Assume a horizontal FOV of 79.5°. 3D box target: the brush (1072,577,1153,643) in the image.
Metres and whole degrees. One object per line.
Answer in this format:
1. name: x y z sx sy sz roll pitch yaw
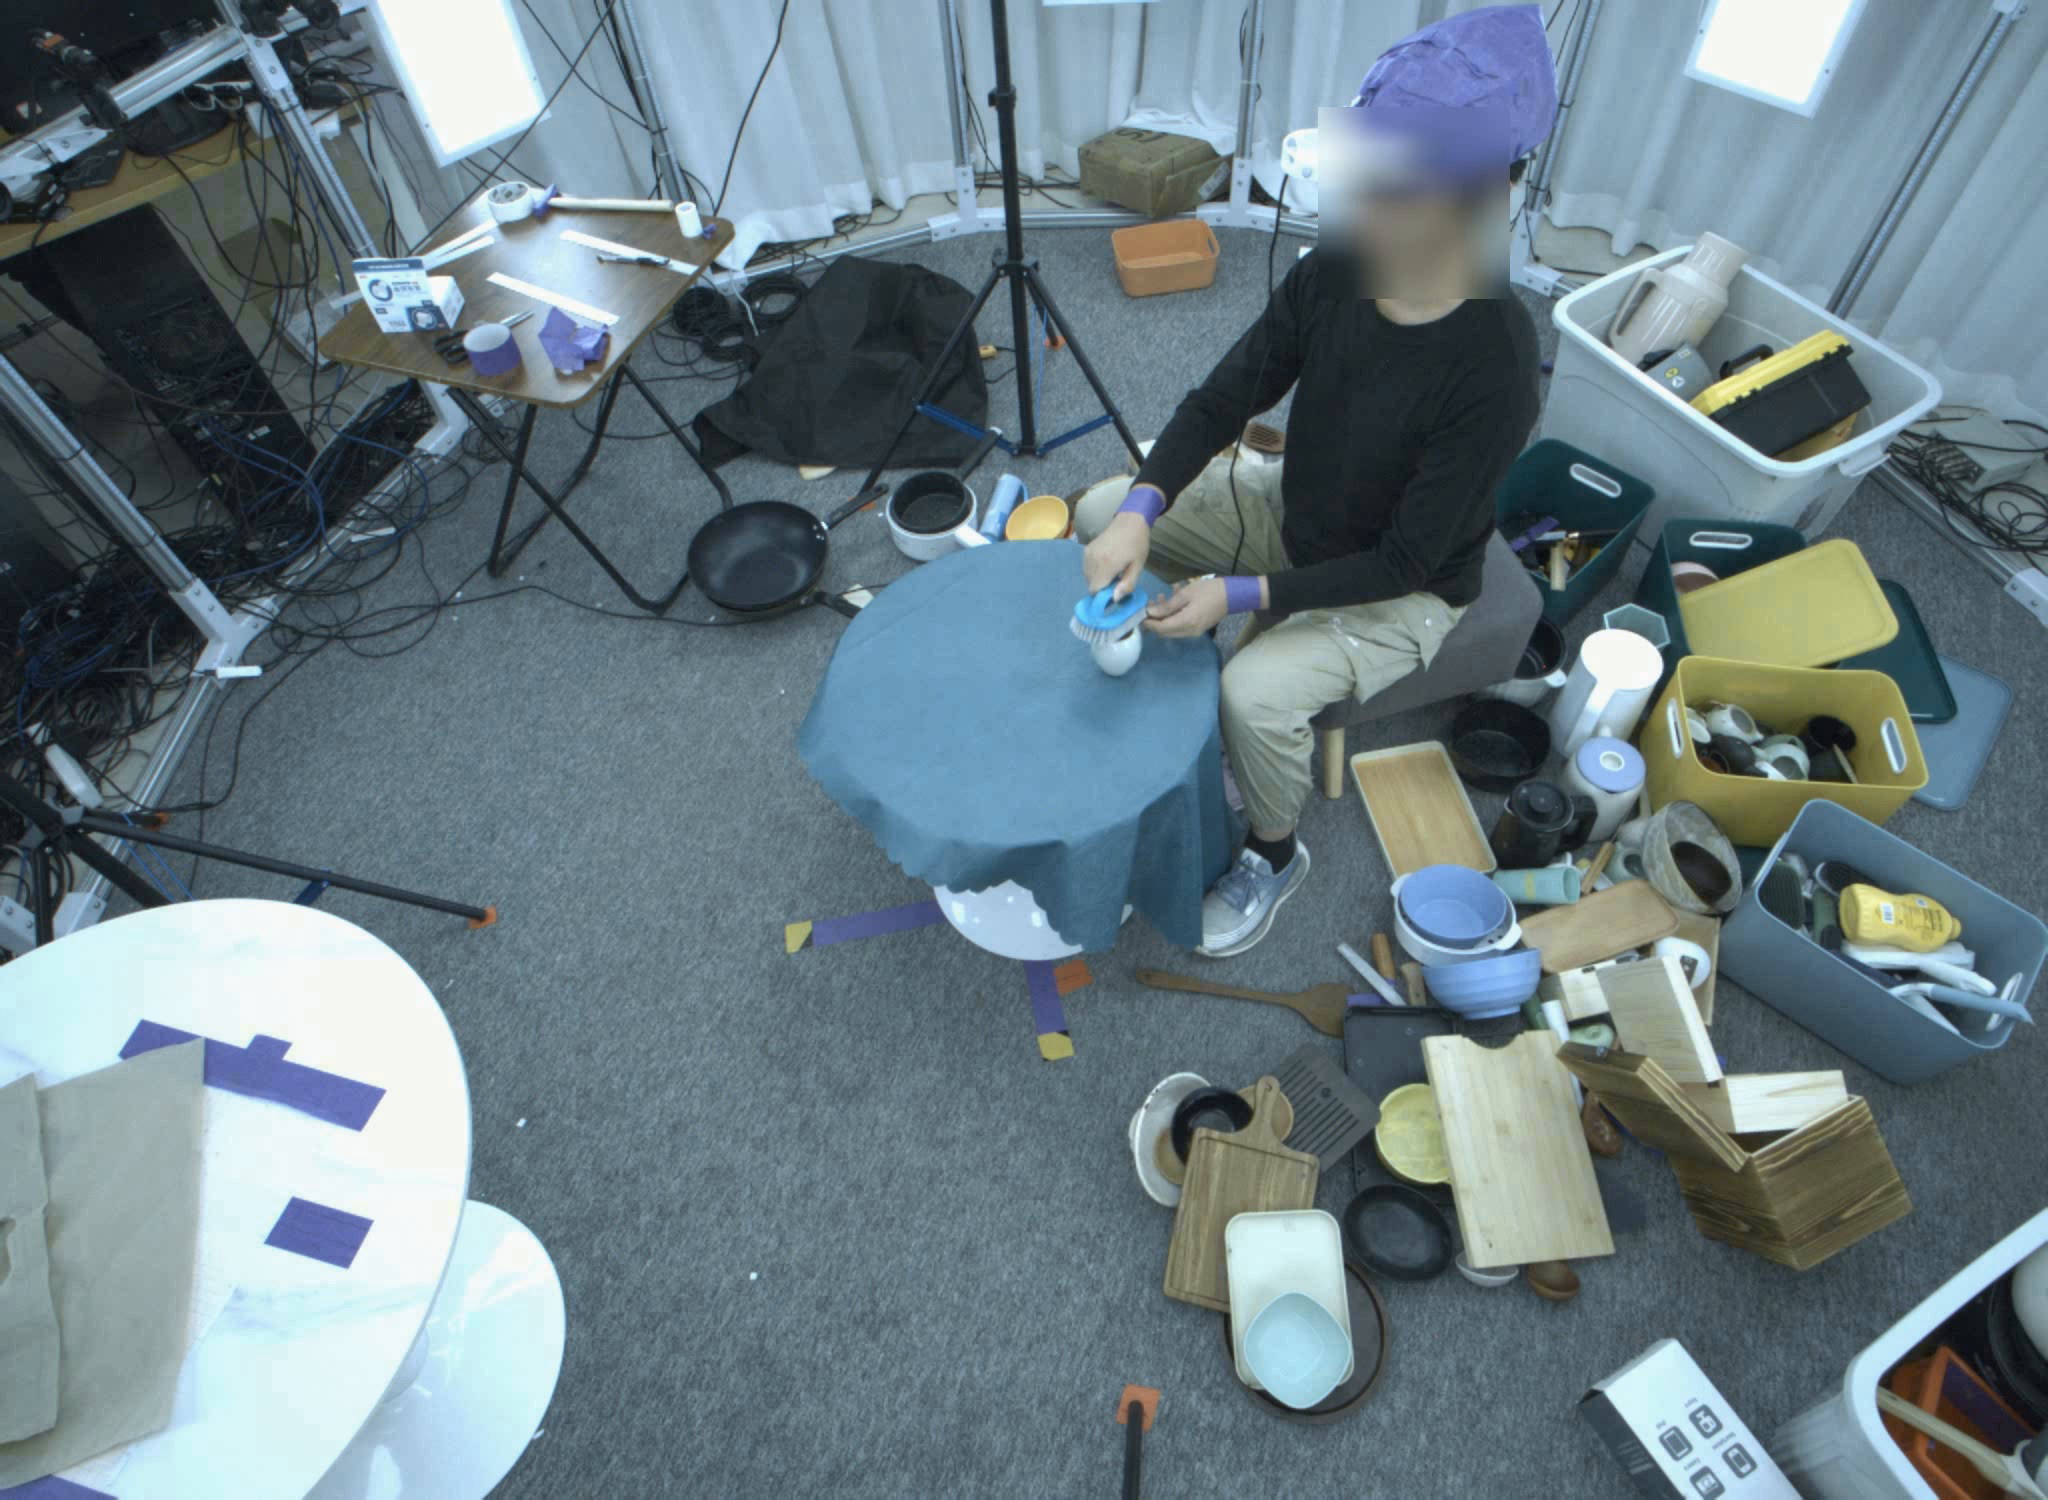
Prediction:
1. brush: 0.129 -0.213 1.787 0.083 0.064 0.143 29 43 26

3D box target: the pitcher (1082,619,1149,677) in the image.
1. pitcher: 0.137 -0.156 1.842 0.120 0.089 0.074 -29 63 -13
